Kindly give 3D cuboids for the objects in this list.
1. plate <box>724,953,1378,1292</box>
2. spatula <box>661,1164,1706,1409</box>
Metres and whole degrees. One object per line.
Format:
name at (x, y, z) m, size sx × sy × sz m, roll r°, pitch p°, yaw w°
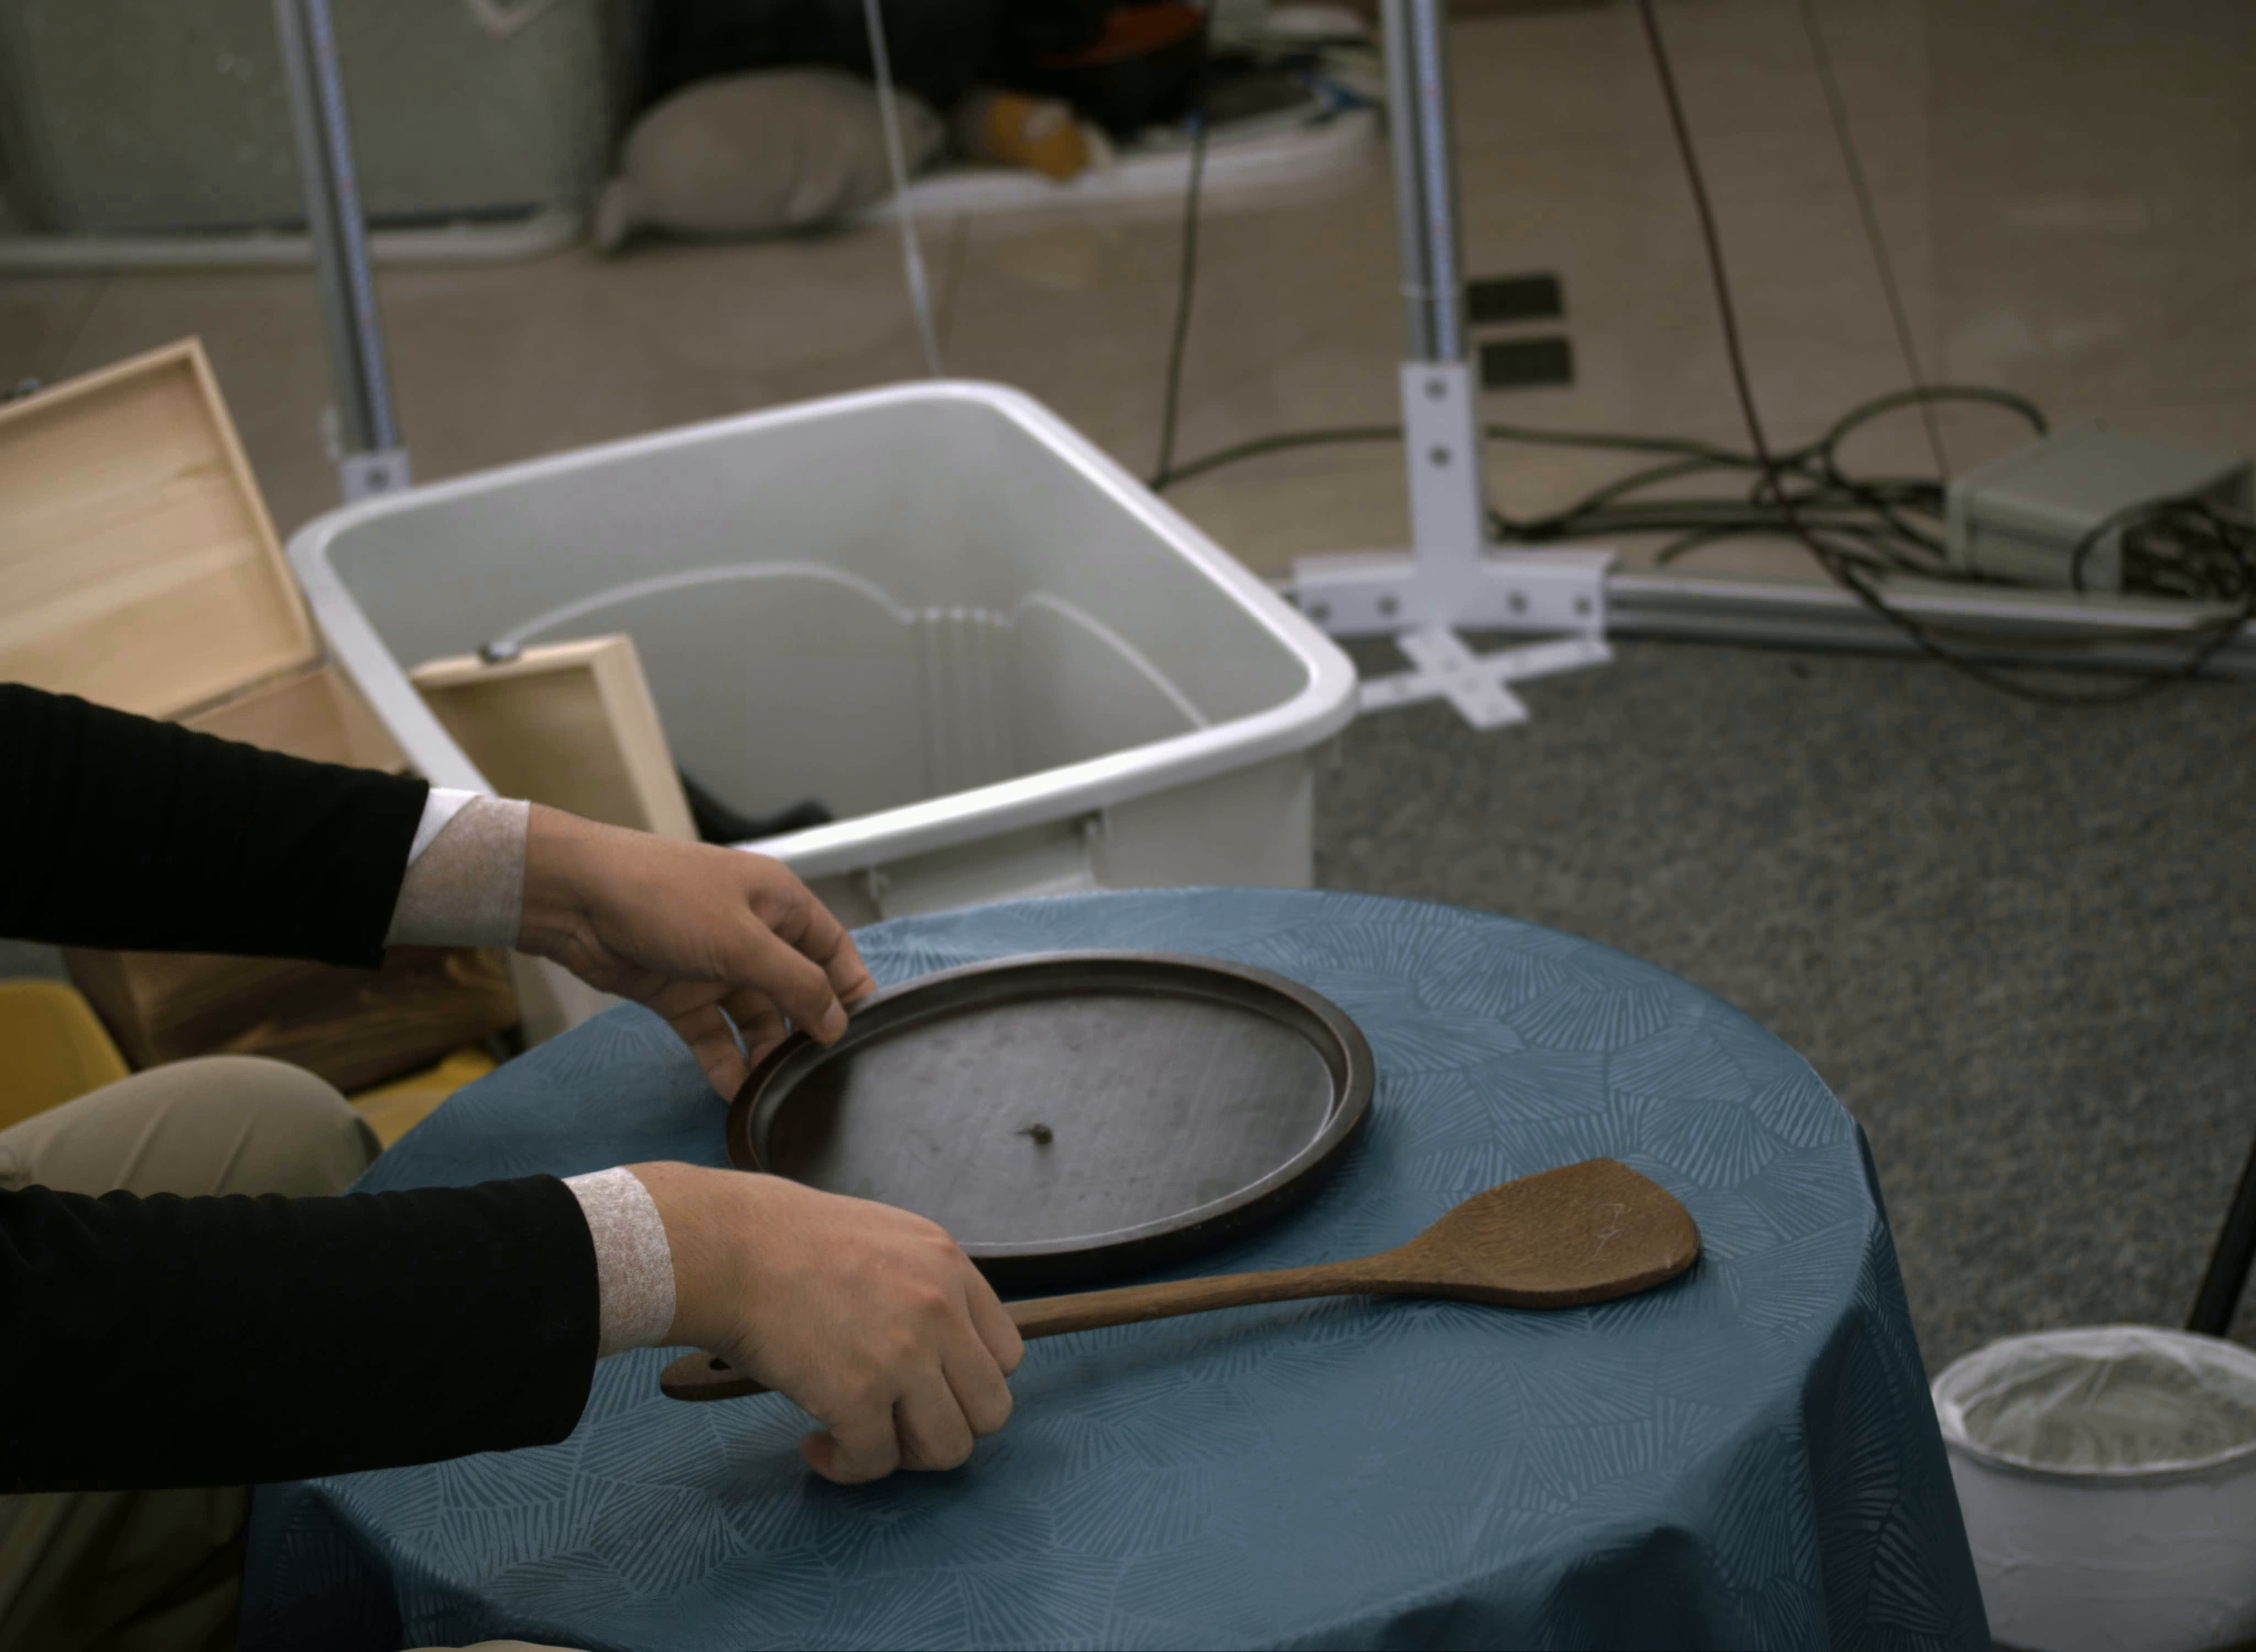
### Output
plate at (-0.029, 0.112, 2.184) m, size 0.254 × 0.029 × 0.251 m, roll -5°, pitch 26°, yaw 3°
spatula at (0.021, 0.170, 2.033) m, size 0.385 × 0.016 × 0.095 m, roll -8°, pitch 23°, yaw -16°
